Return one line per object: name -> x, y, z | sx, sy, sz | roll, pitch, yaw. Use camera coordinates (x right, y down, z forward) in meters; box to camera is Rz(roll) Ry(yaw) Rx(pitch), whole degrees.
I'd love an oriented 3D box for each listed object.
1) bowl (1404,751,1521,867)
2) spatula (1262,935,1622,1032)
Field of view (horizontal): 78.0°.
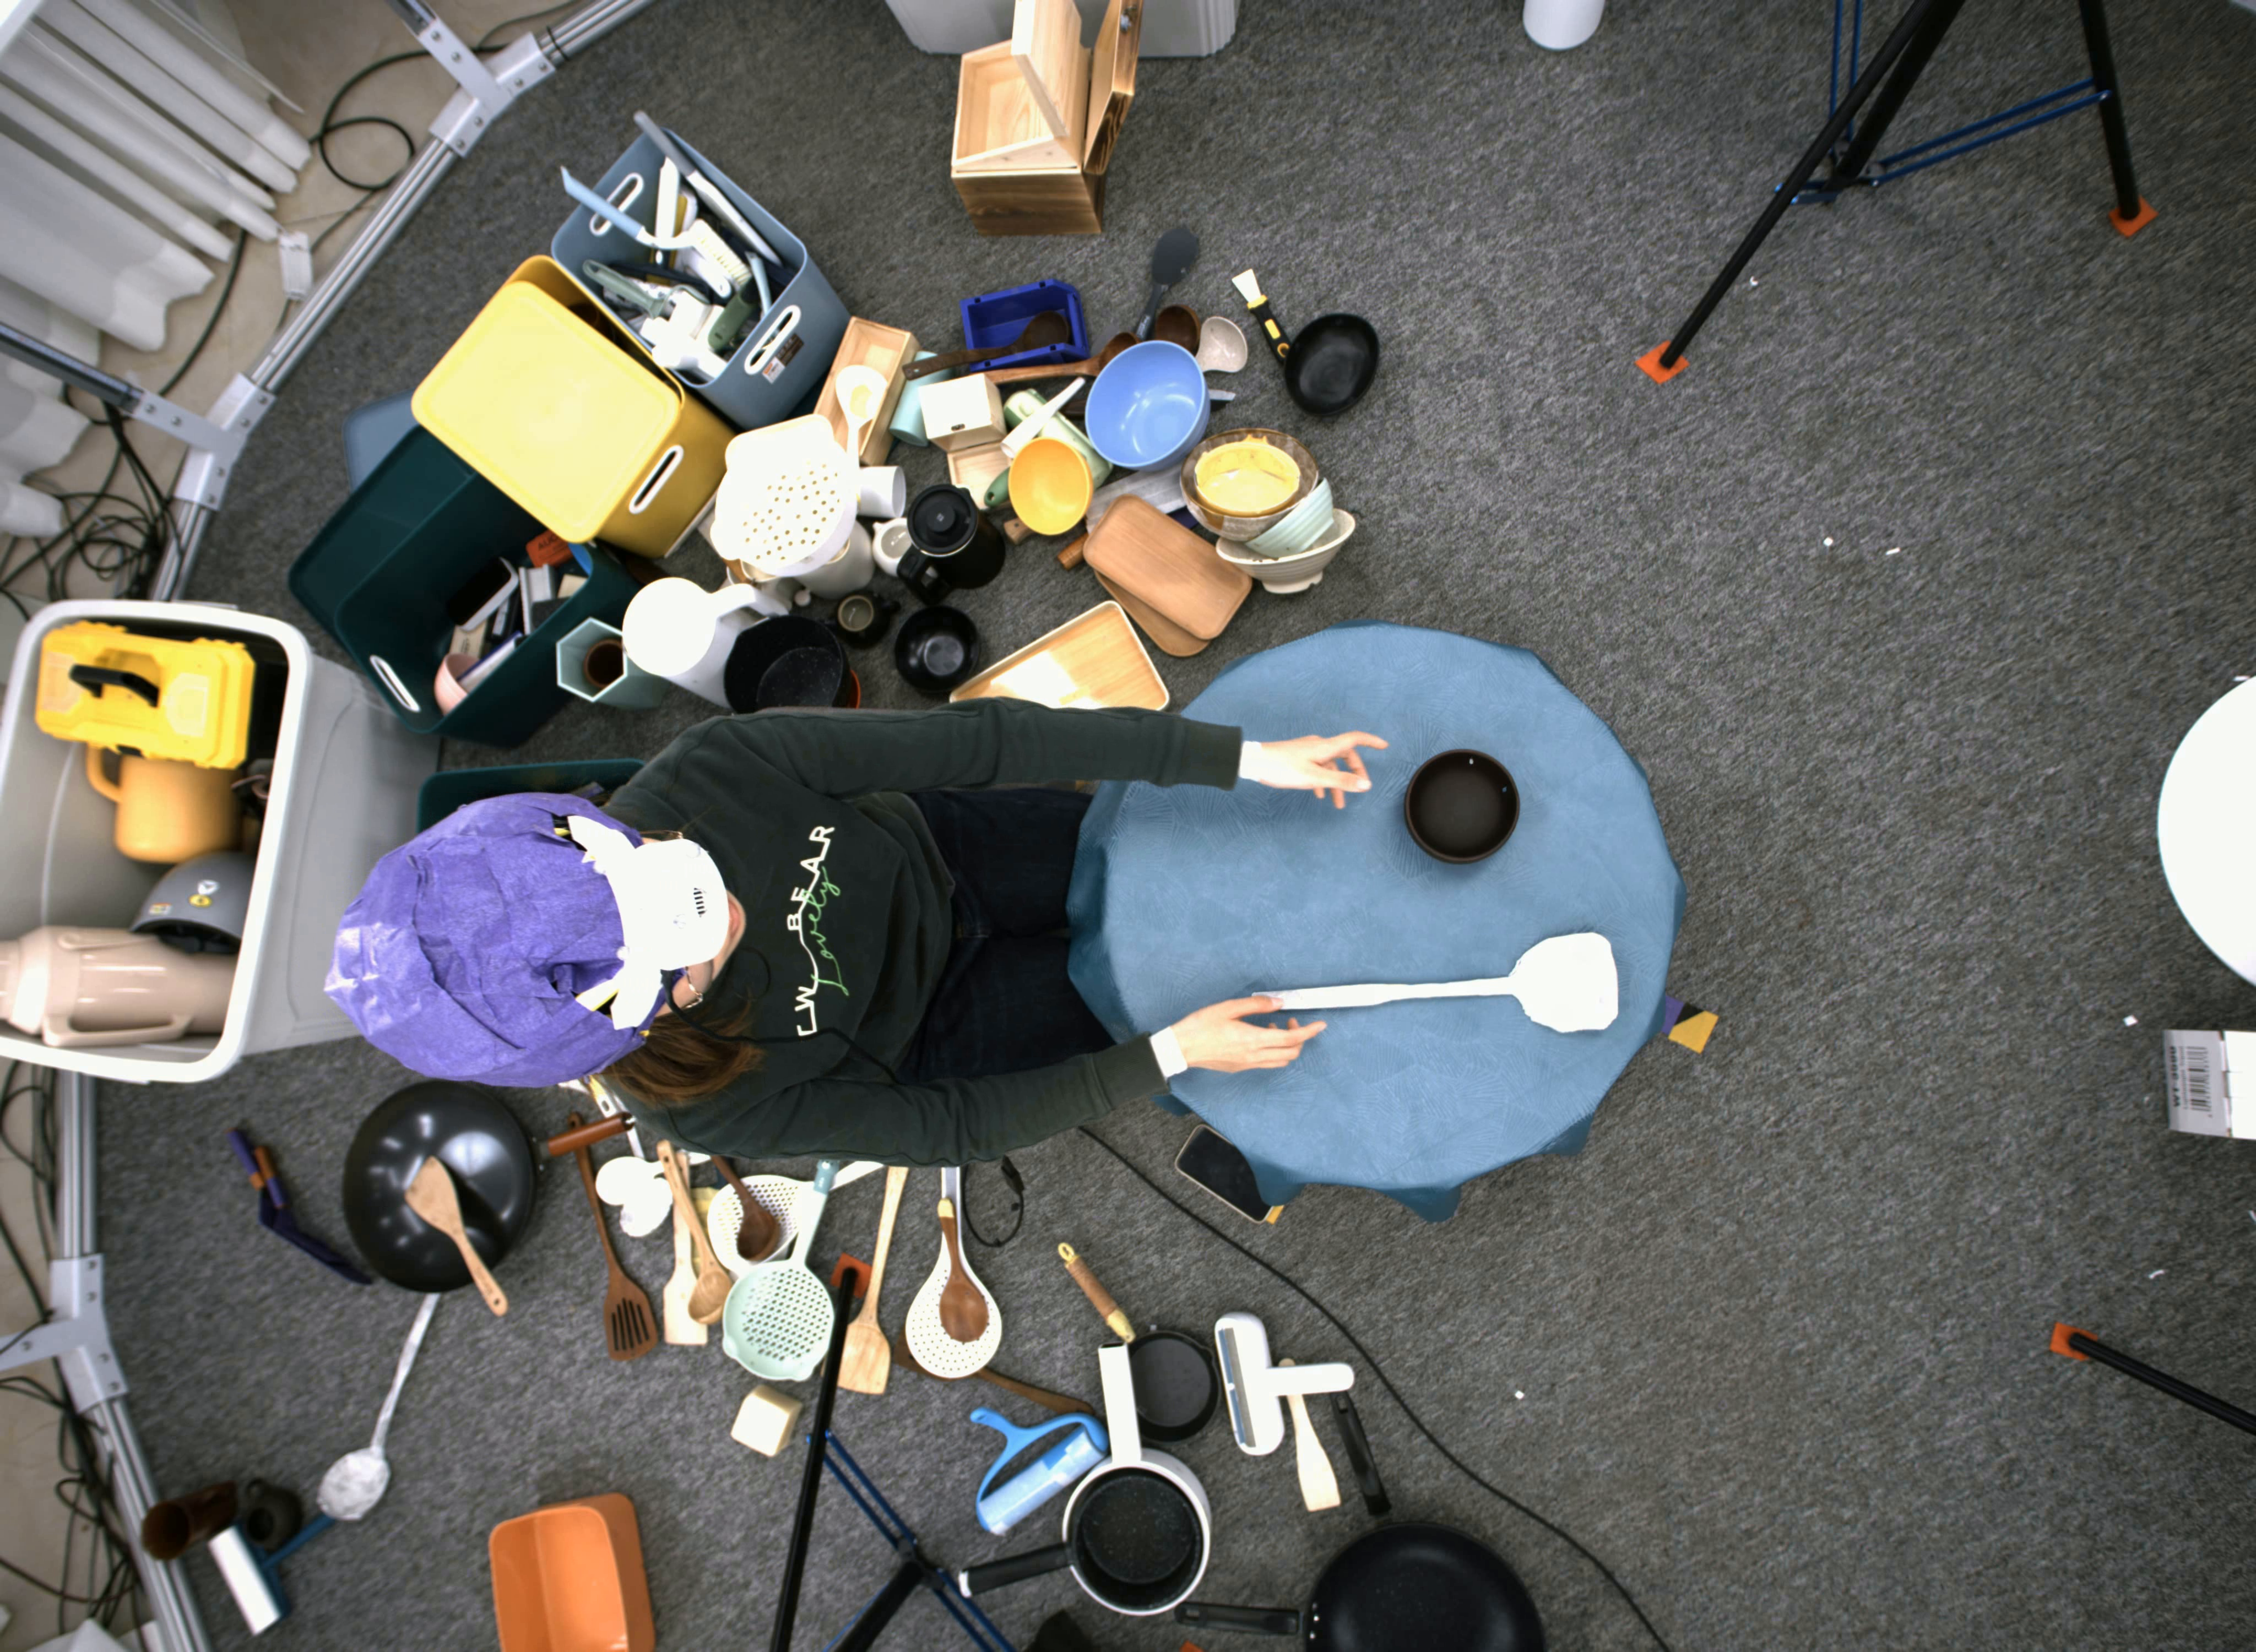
bowl -> 0.344, -0.016, 1.421 | 0.118, 0.070, 0.117 | -1, 83, 11
spatula -> 0.320, 0.167, 1.430 | 0.366, 0.045, 0.098 | -4, 87, 10
